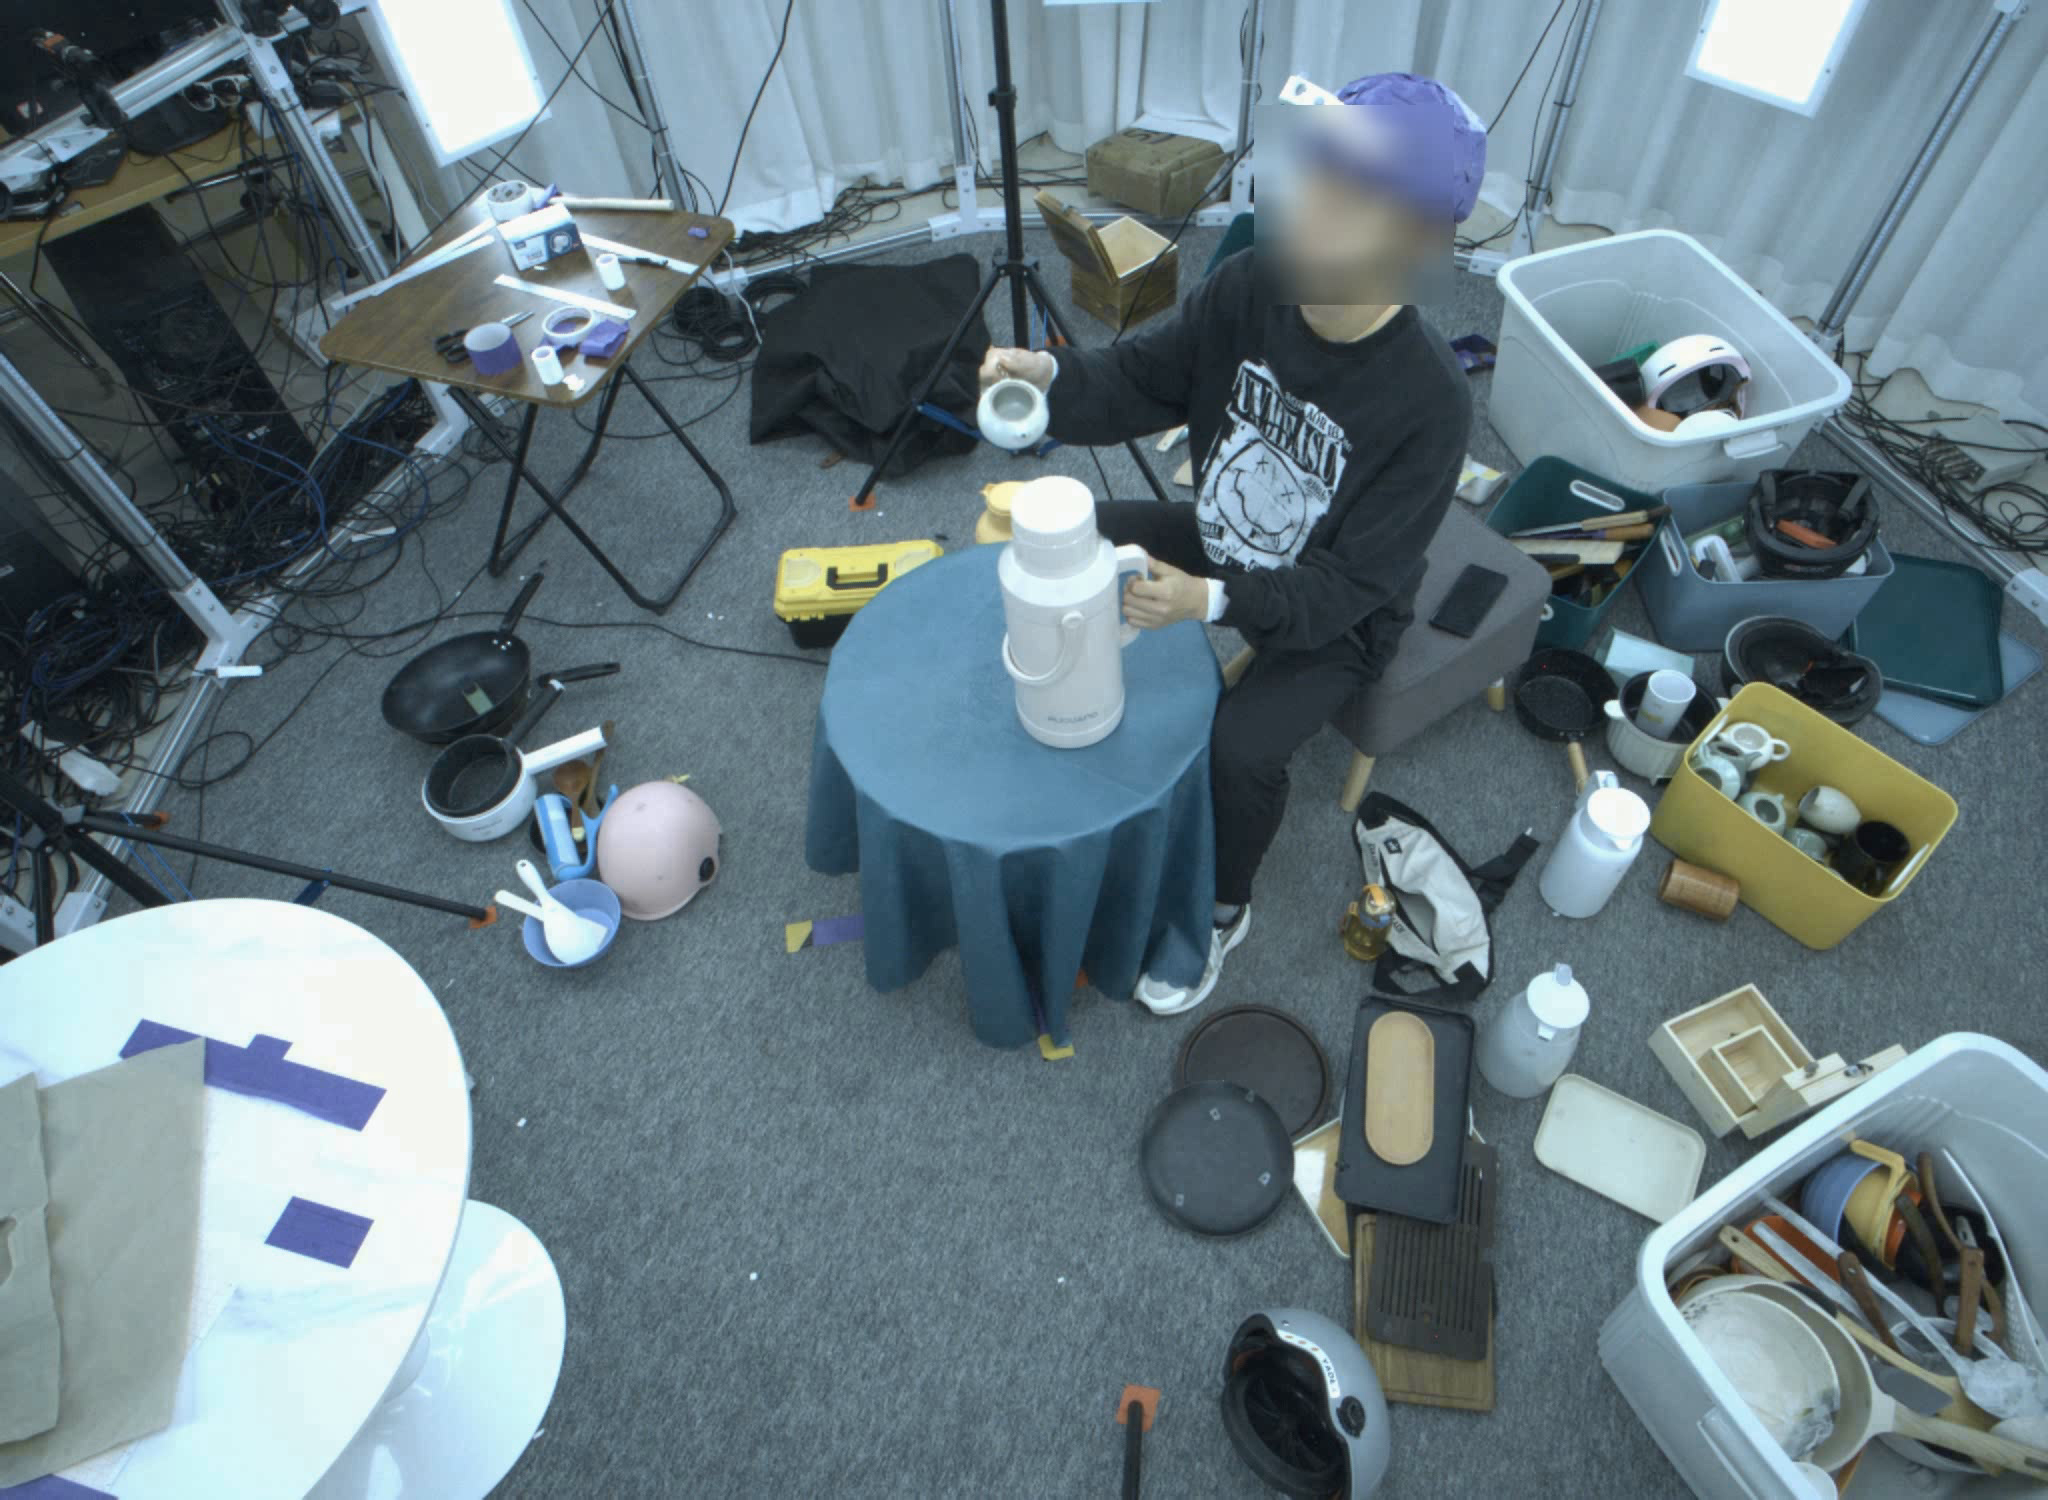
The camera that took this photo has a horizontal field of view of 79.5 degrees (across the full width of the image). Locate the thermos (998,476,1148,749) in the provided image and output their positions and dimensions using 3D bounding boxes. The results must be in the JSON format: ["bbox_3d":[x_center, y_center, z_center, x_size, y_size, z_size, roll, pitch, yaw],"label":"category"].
[{"bbox_3d":[0.067,-0.185,1.665,0.208,0.411,0.172,-14,52,-4],"label":"thermos"}]

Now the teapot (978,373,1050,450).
[{"bbox_3d":[-0.018,-0.436,1.550,0.092,0.060,0.127,-17,72,-3],"label":"teapot"}]
